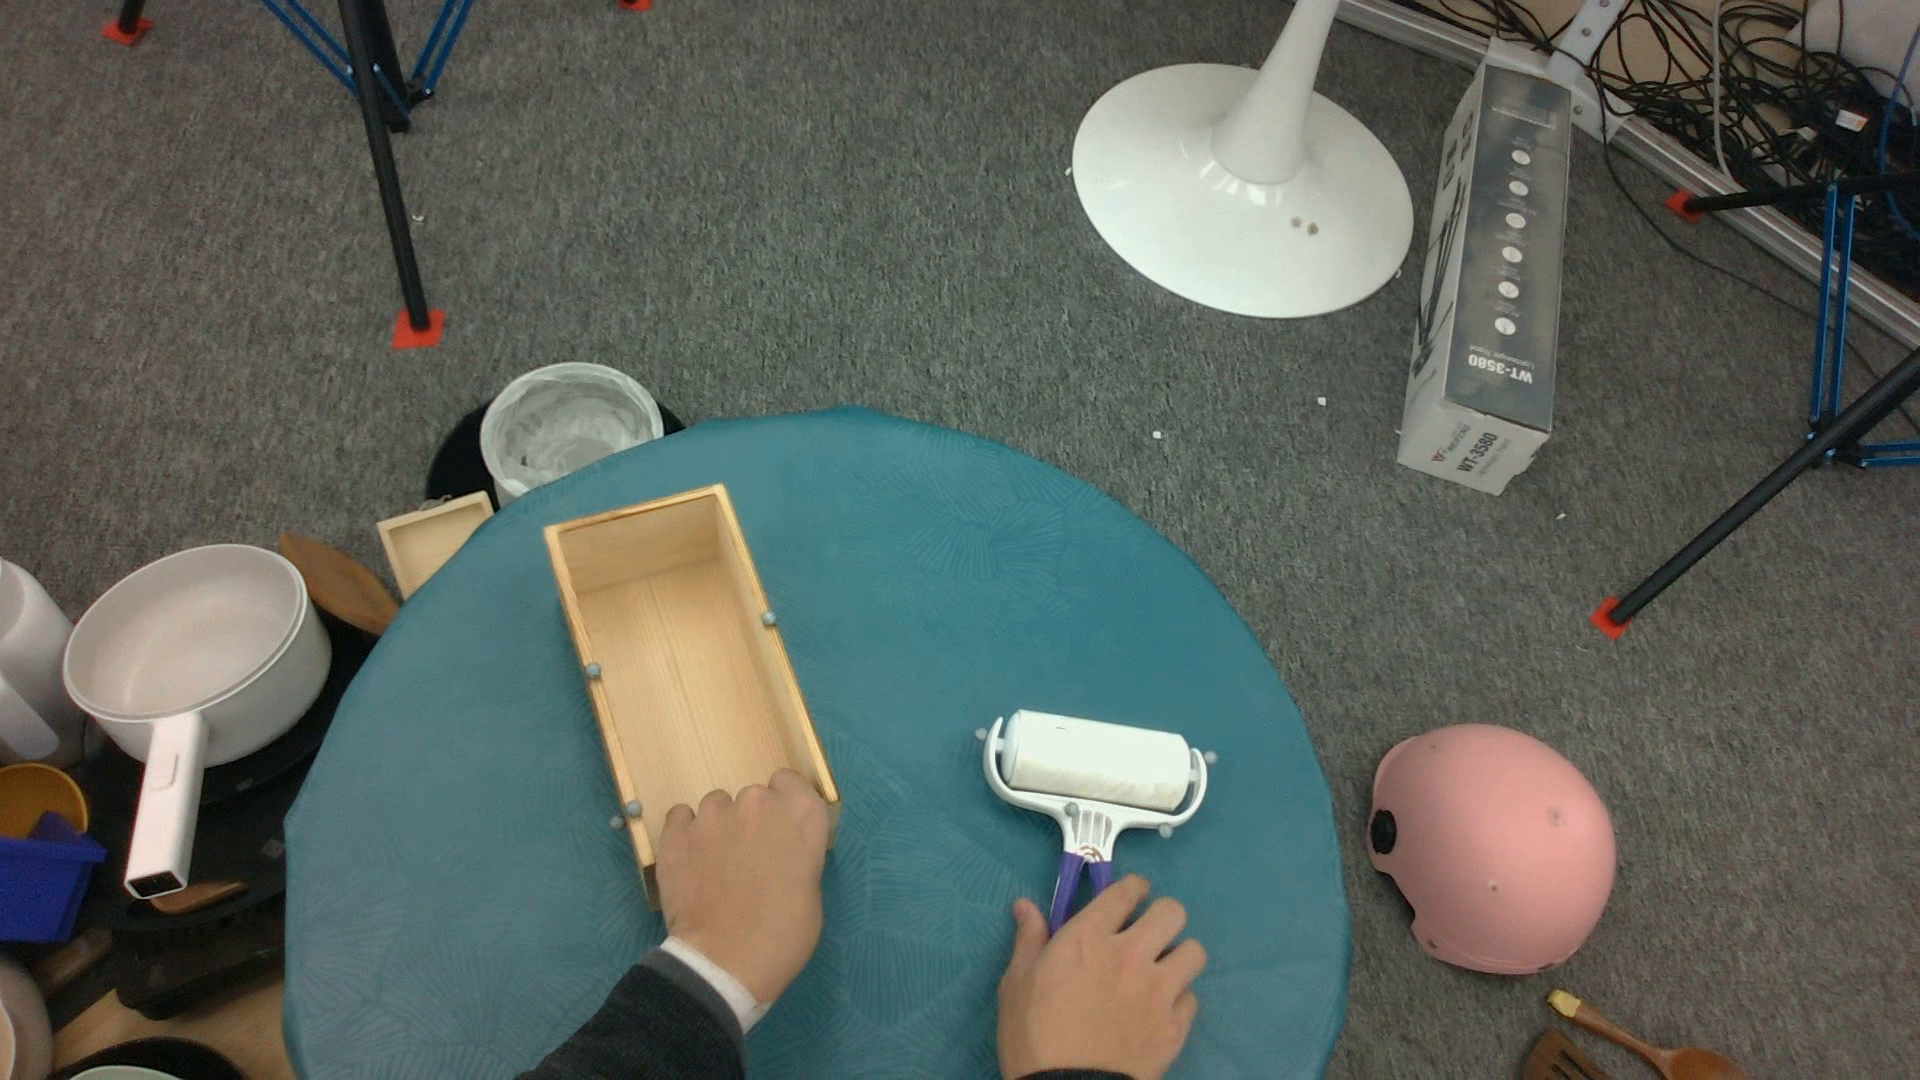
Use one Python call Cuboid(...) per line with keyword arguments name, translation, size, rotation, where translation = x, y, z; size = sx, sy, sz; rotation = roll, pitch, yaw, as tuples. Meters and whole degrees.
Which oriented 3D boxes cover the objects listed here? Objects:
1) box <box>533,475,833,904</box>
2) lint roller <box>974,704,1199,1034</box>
Cuboid(name="box", translation=(-0.160, 0.080, 0.783), size=(0.108, 0.080, 0.212), rotation=(-16, 63, -19))
Cuboid(name="lint roller", translation=(0.067, 0.182, 0.780), size=(0.133, 0.050, 0.181), rotation=(11, 55, -4))
